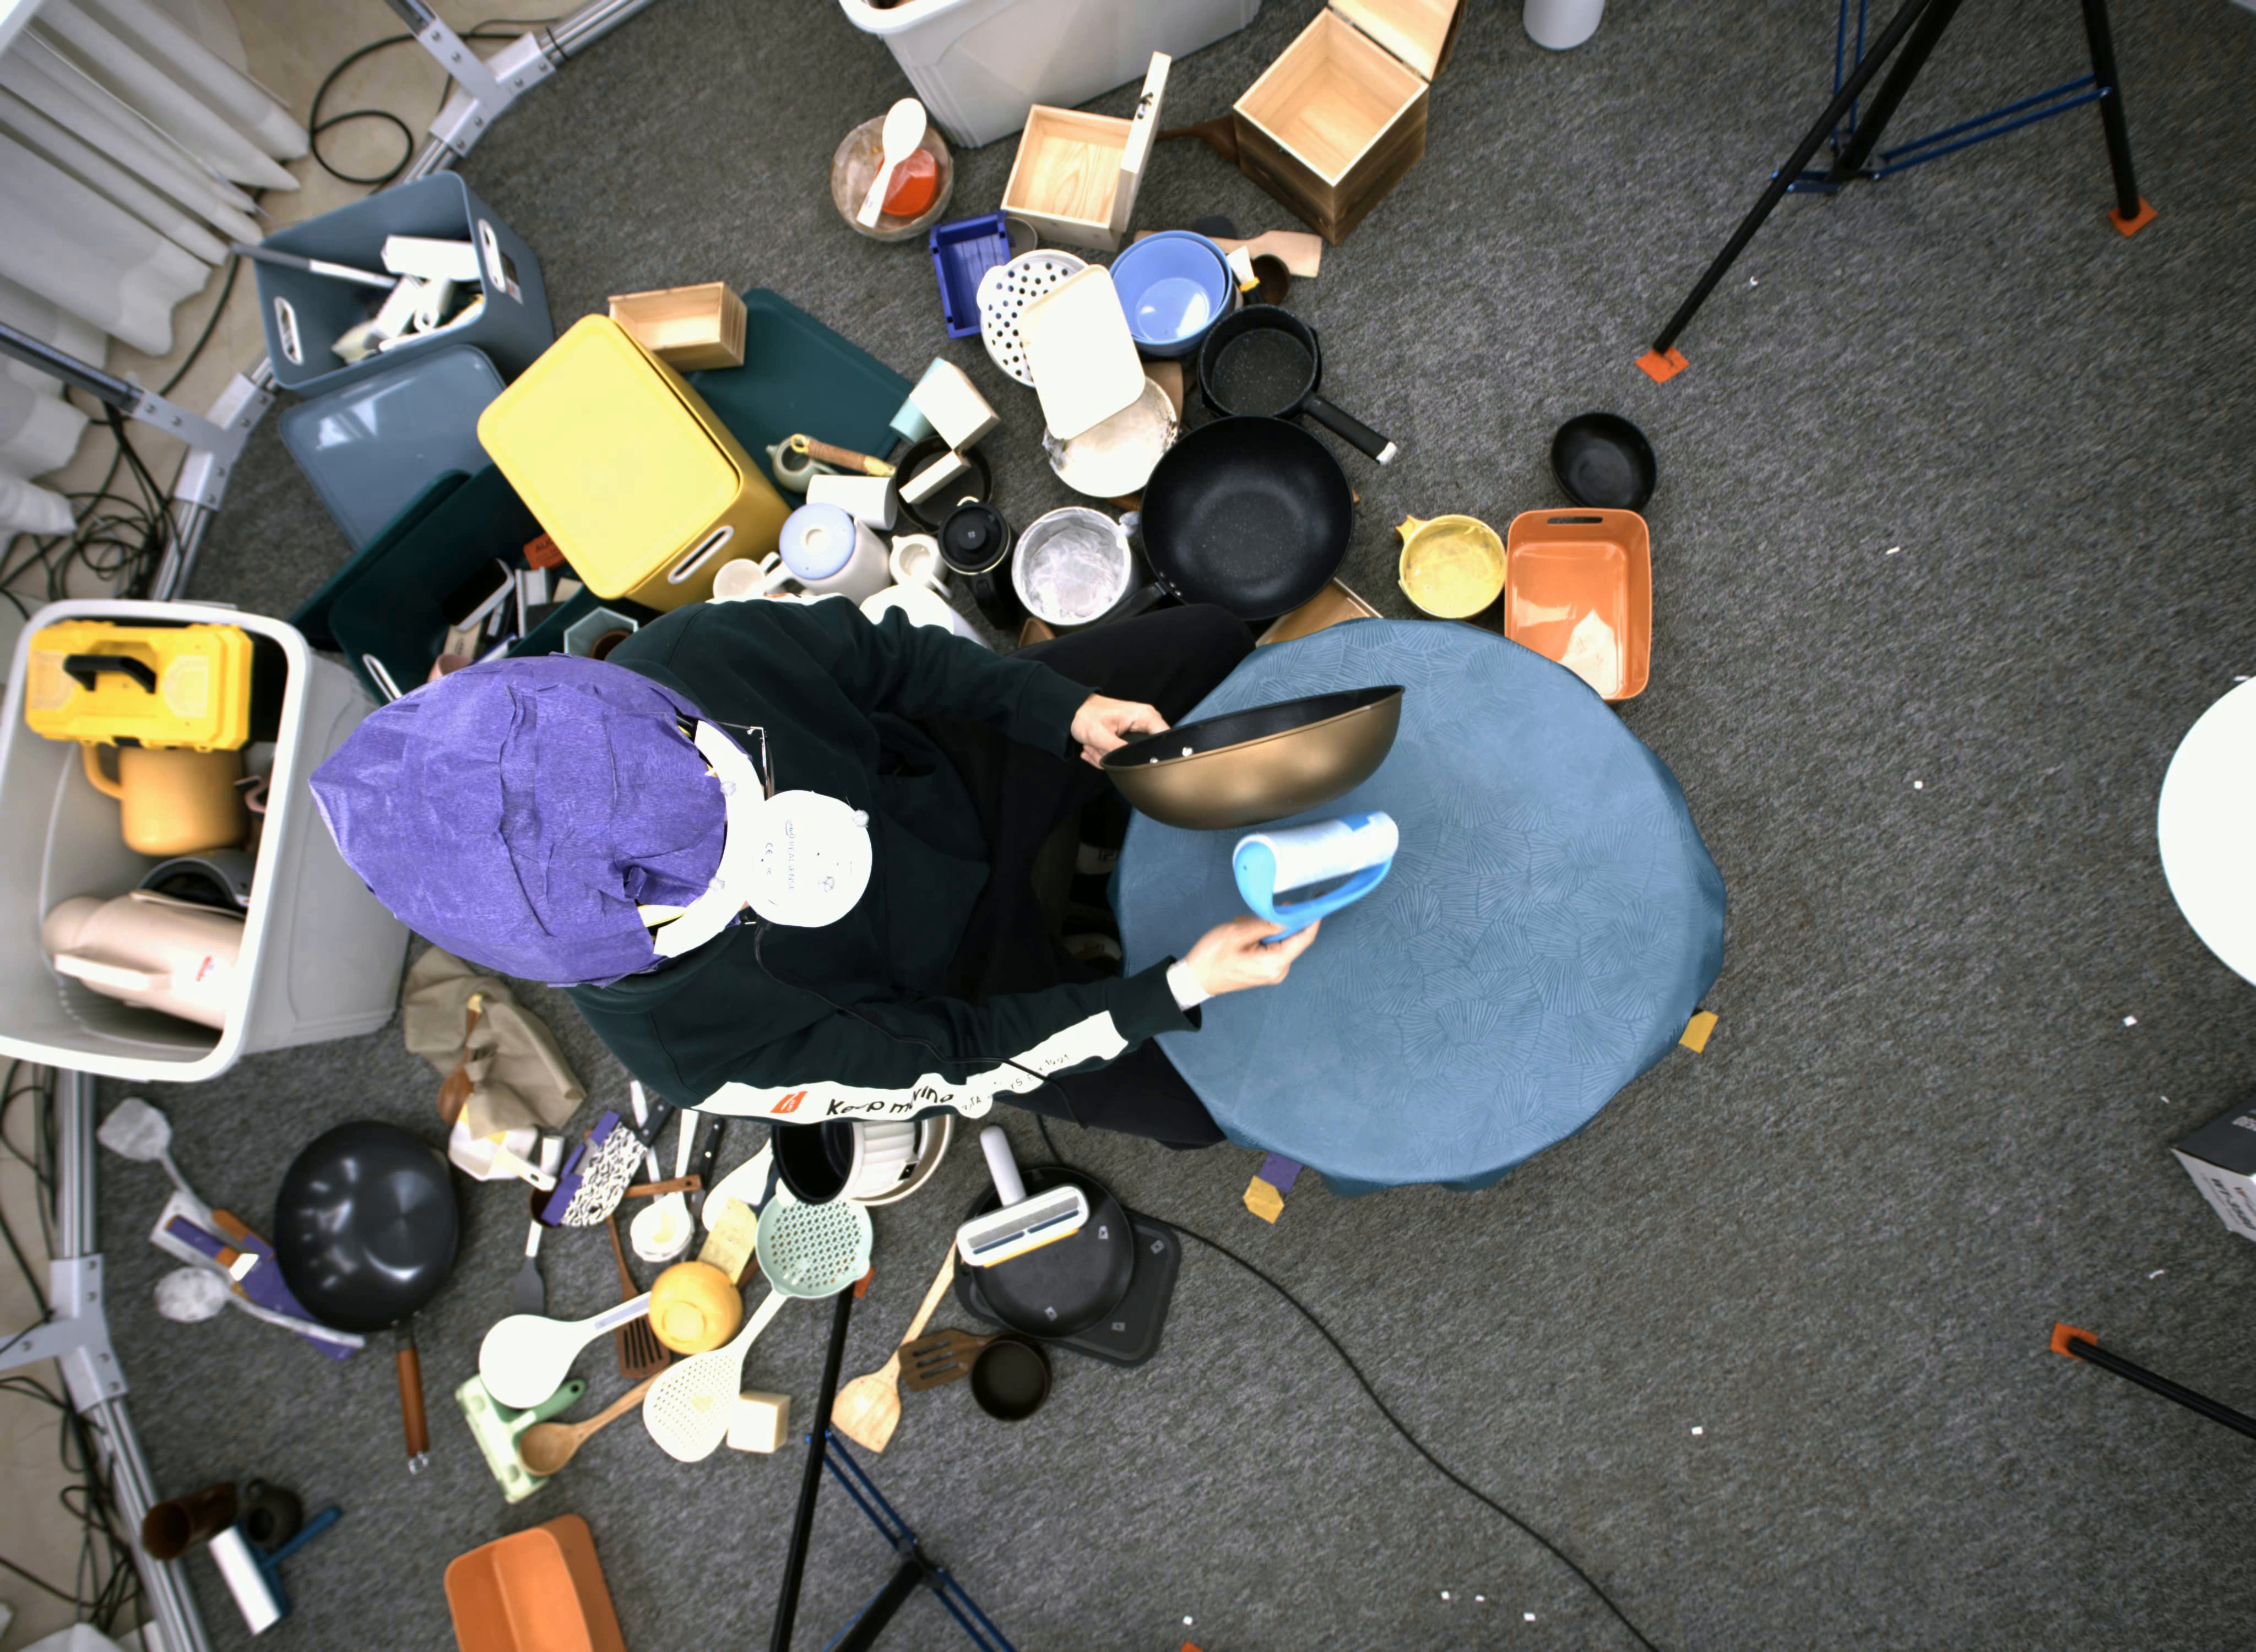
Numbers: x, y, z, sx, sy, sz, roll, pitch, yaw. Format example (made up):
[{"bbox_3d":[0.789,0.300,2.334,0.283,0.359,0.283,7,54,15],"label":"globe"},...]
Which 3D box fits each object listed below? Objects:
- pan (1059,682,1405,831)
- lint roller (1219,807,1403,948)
[{"bbox_3d":[0.066,-0.054,1.310,0.284,0.467,0.087,-21,99,-33],"label":"pan"},{"bbox_3d":[0.150,0.065,1.274,0.067,0.225,0.185,49,130,23],"label":"lint roller"}]
